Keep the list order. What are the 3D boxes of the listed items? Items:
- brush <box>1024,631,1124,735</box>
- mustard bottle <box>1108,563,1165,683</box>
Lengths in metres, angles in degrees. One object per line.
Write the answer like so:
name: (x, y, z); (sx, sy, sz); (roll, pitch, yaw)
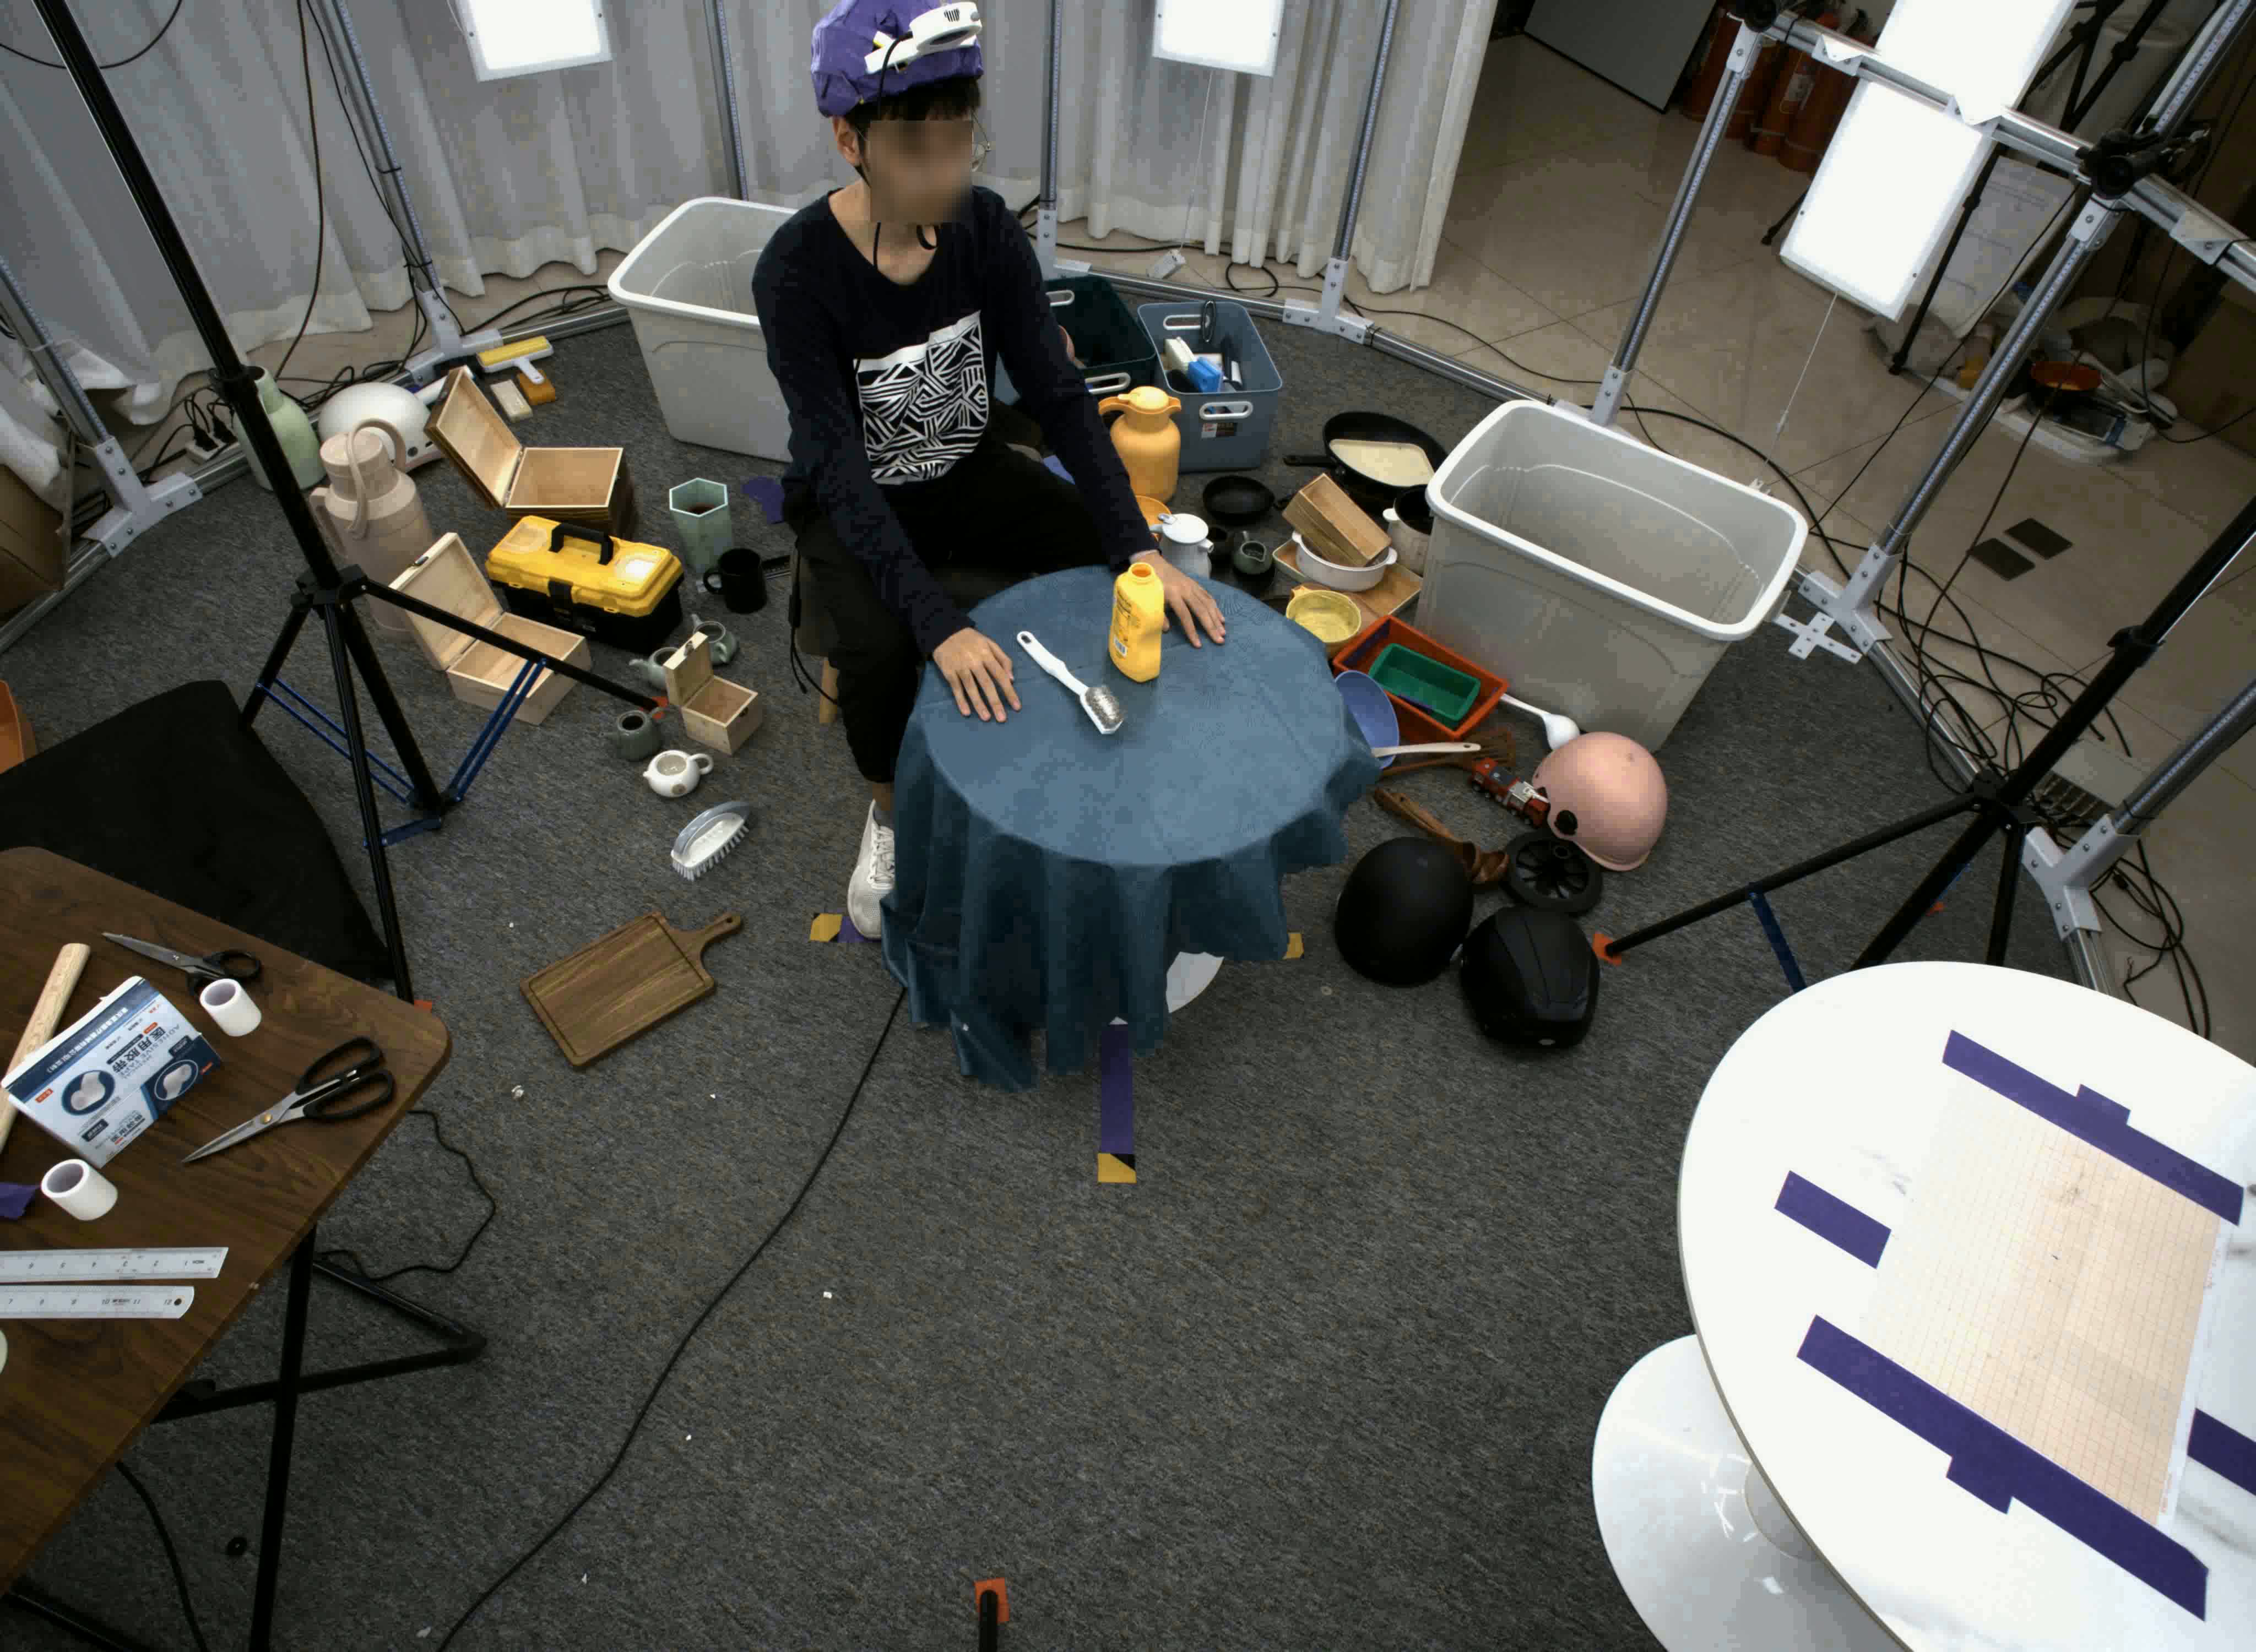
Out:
brush: (-0.081, -0.217, 1.821); (0.034, 0.049, 0.248); (-26, 55, -19)
mustard bottle: (0.012, -0.294, 1.814); (0.059, 0.168, 0.100); (-24, 52, -26)
